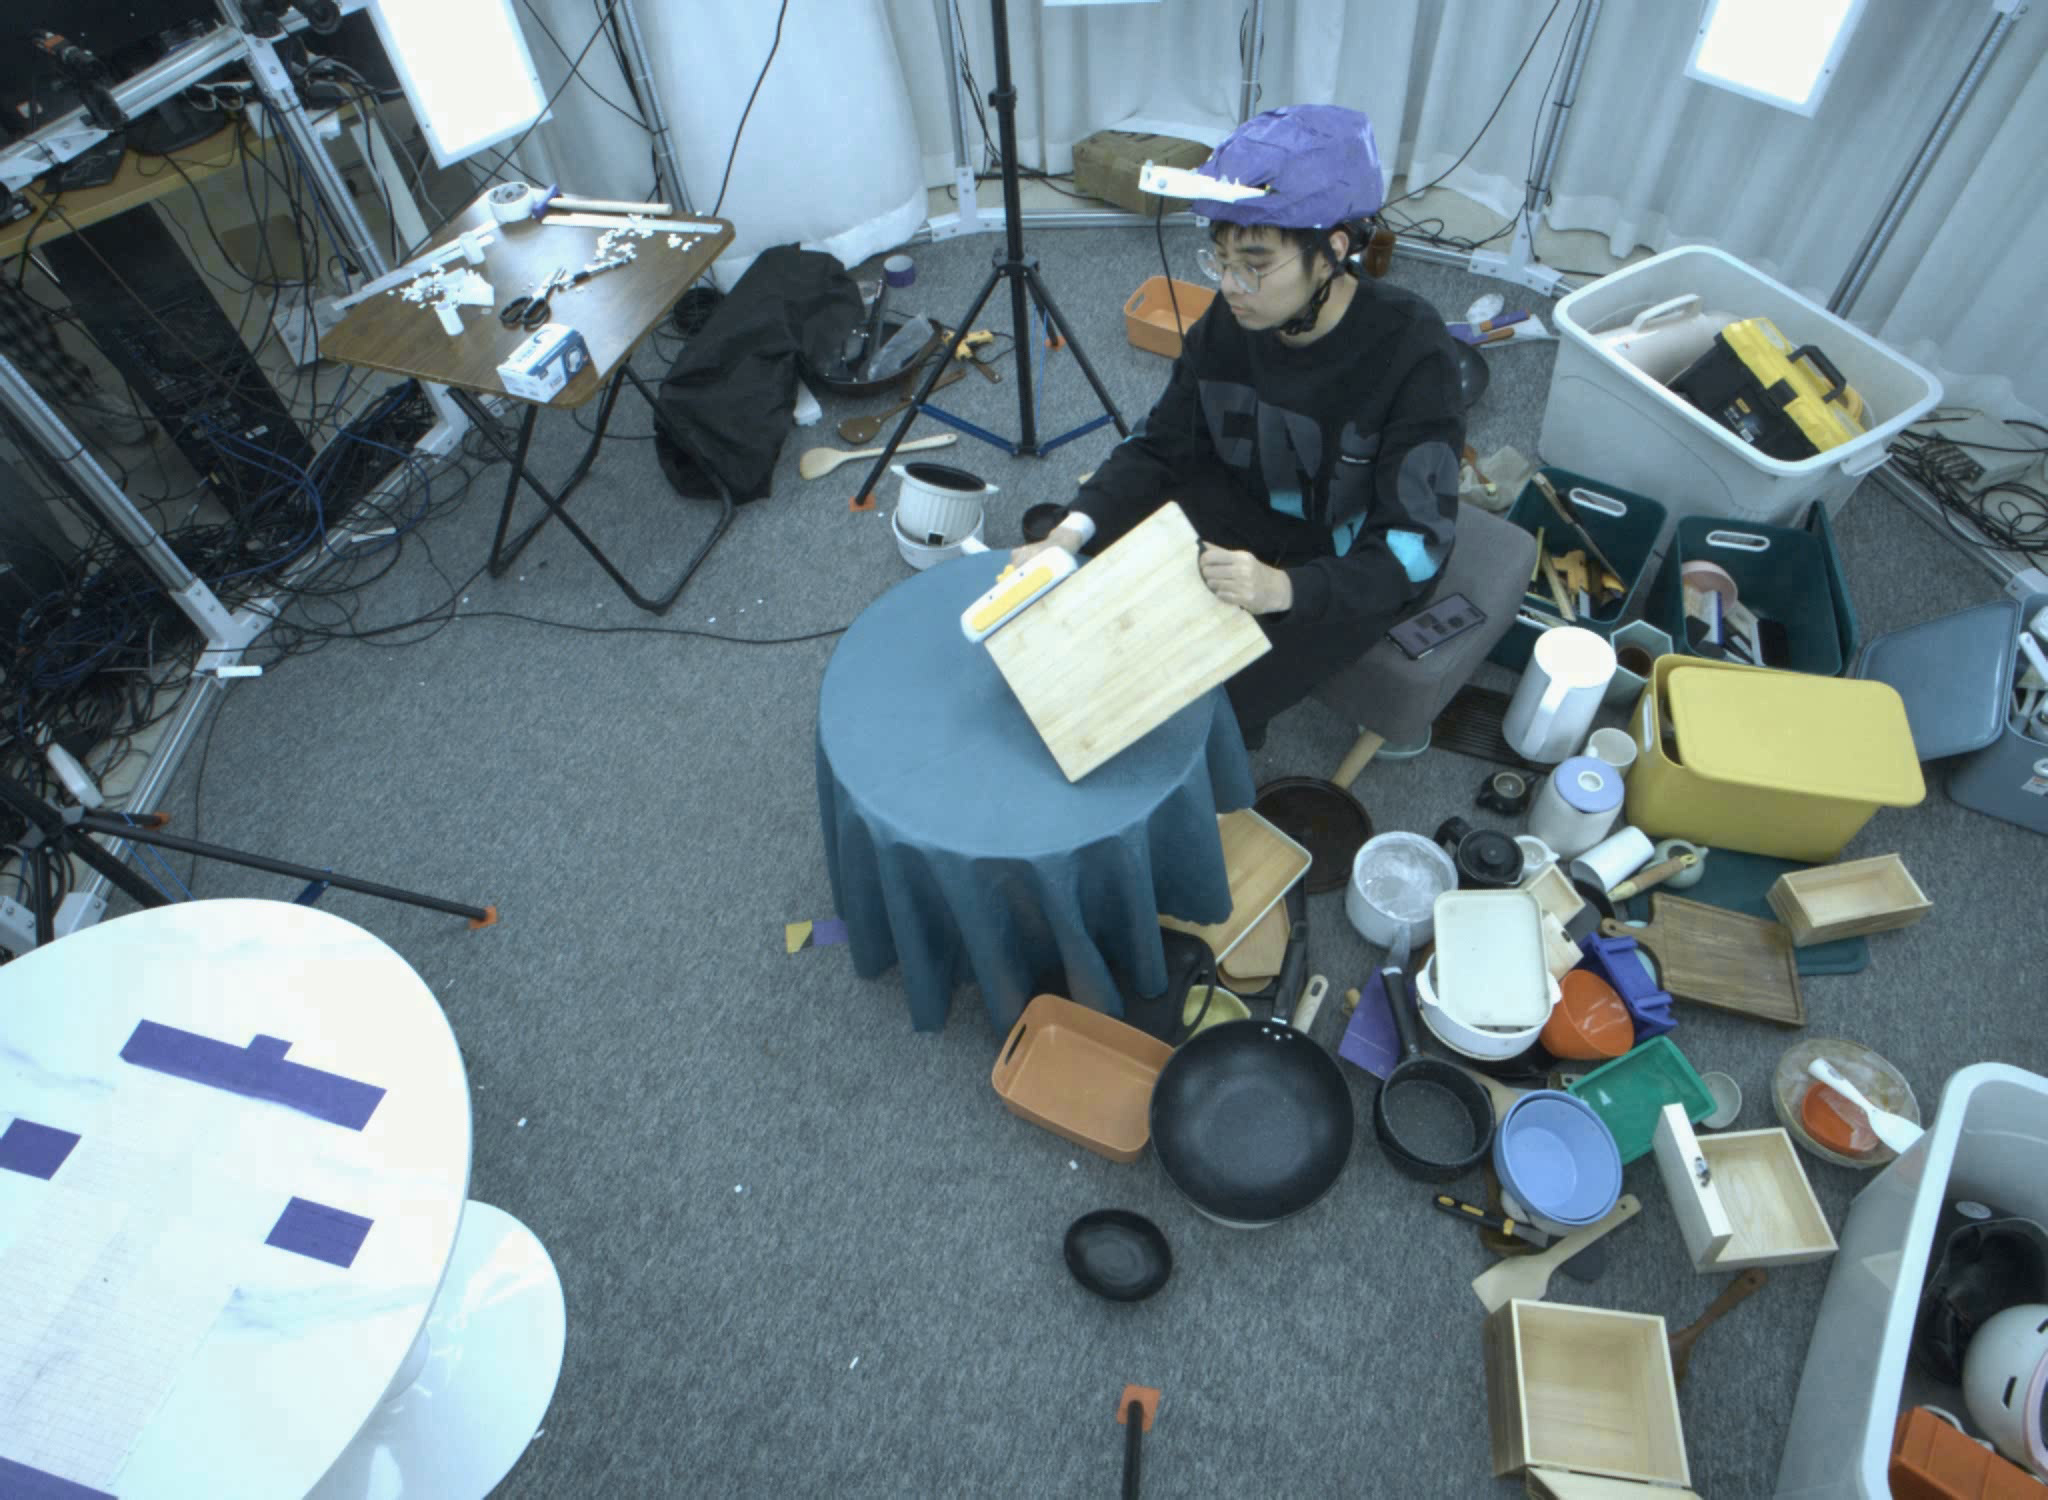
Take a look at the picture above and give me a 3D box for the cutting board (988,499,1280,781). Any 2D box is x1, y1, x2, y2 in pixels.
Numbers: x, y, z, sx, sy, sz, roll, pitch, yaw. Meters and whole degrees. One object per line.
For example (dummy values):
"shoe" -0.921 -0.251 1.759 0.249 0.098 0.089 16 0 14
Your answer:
"cutting board" 0.141 -0.148 1.693 0.346 0.024 0.249 -35 84 21

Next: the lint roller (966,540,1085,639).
"lint roller" 0.007 -0.245 1.801 0.192 0.193 0.074 -40 92 18
